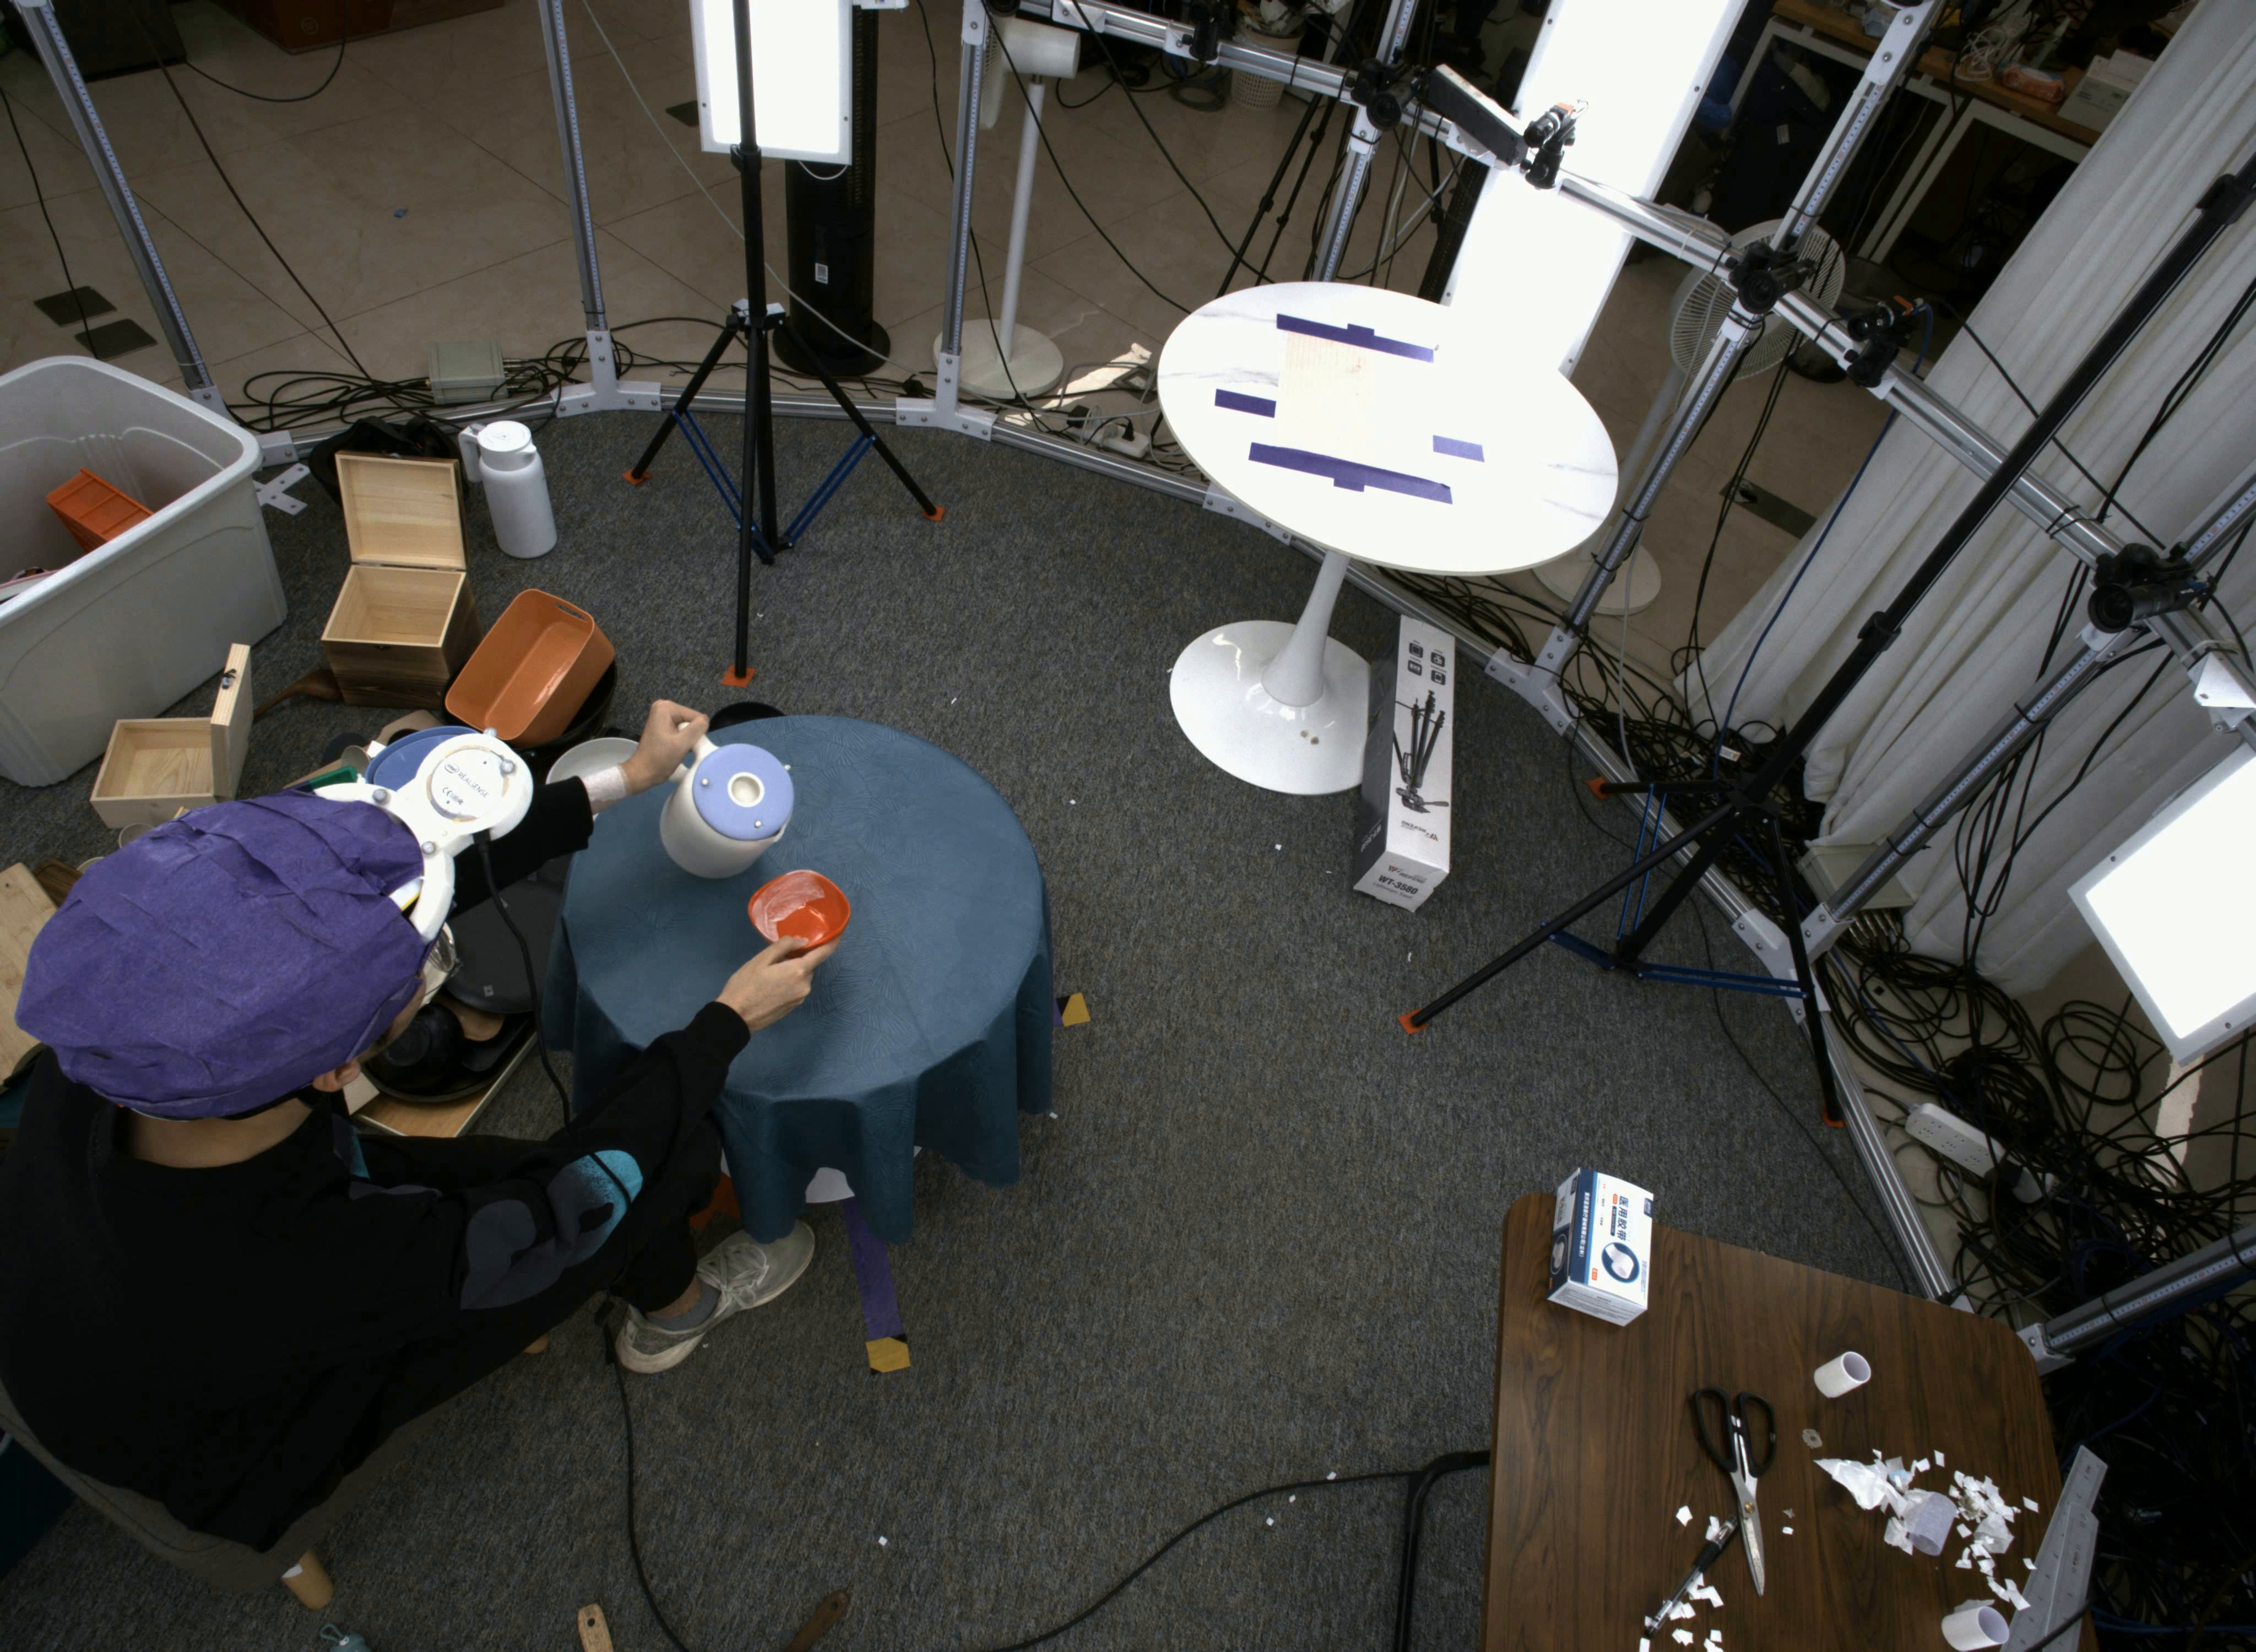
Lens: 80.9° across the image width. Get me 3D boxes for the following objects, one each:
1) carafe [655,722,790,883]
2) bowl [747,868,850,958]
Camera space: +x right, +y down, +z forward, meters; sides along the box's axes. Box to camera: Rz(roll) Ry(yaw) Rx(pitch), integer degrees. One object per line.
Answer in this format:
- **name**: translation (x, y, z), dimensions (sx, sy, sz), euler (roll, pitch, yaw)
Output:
- **carafe**: translation (-0.504, -0.038, 1.561), dimensions (0.193, 0.181, 0.132), euler (51, 55, -4)
- **bowl**: translation (-0.392, 0.110, 1.543), dimensions (0.119, 0.052, 0.116), euler (10, 48, -9)
